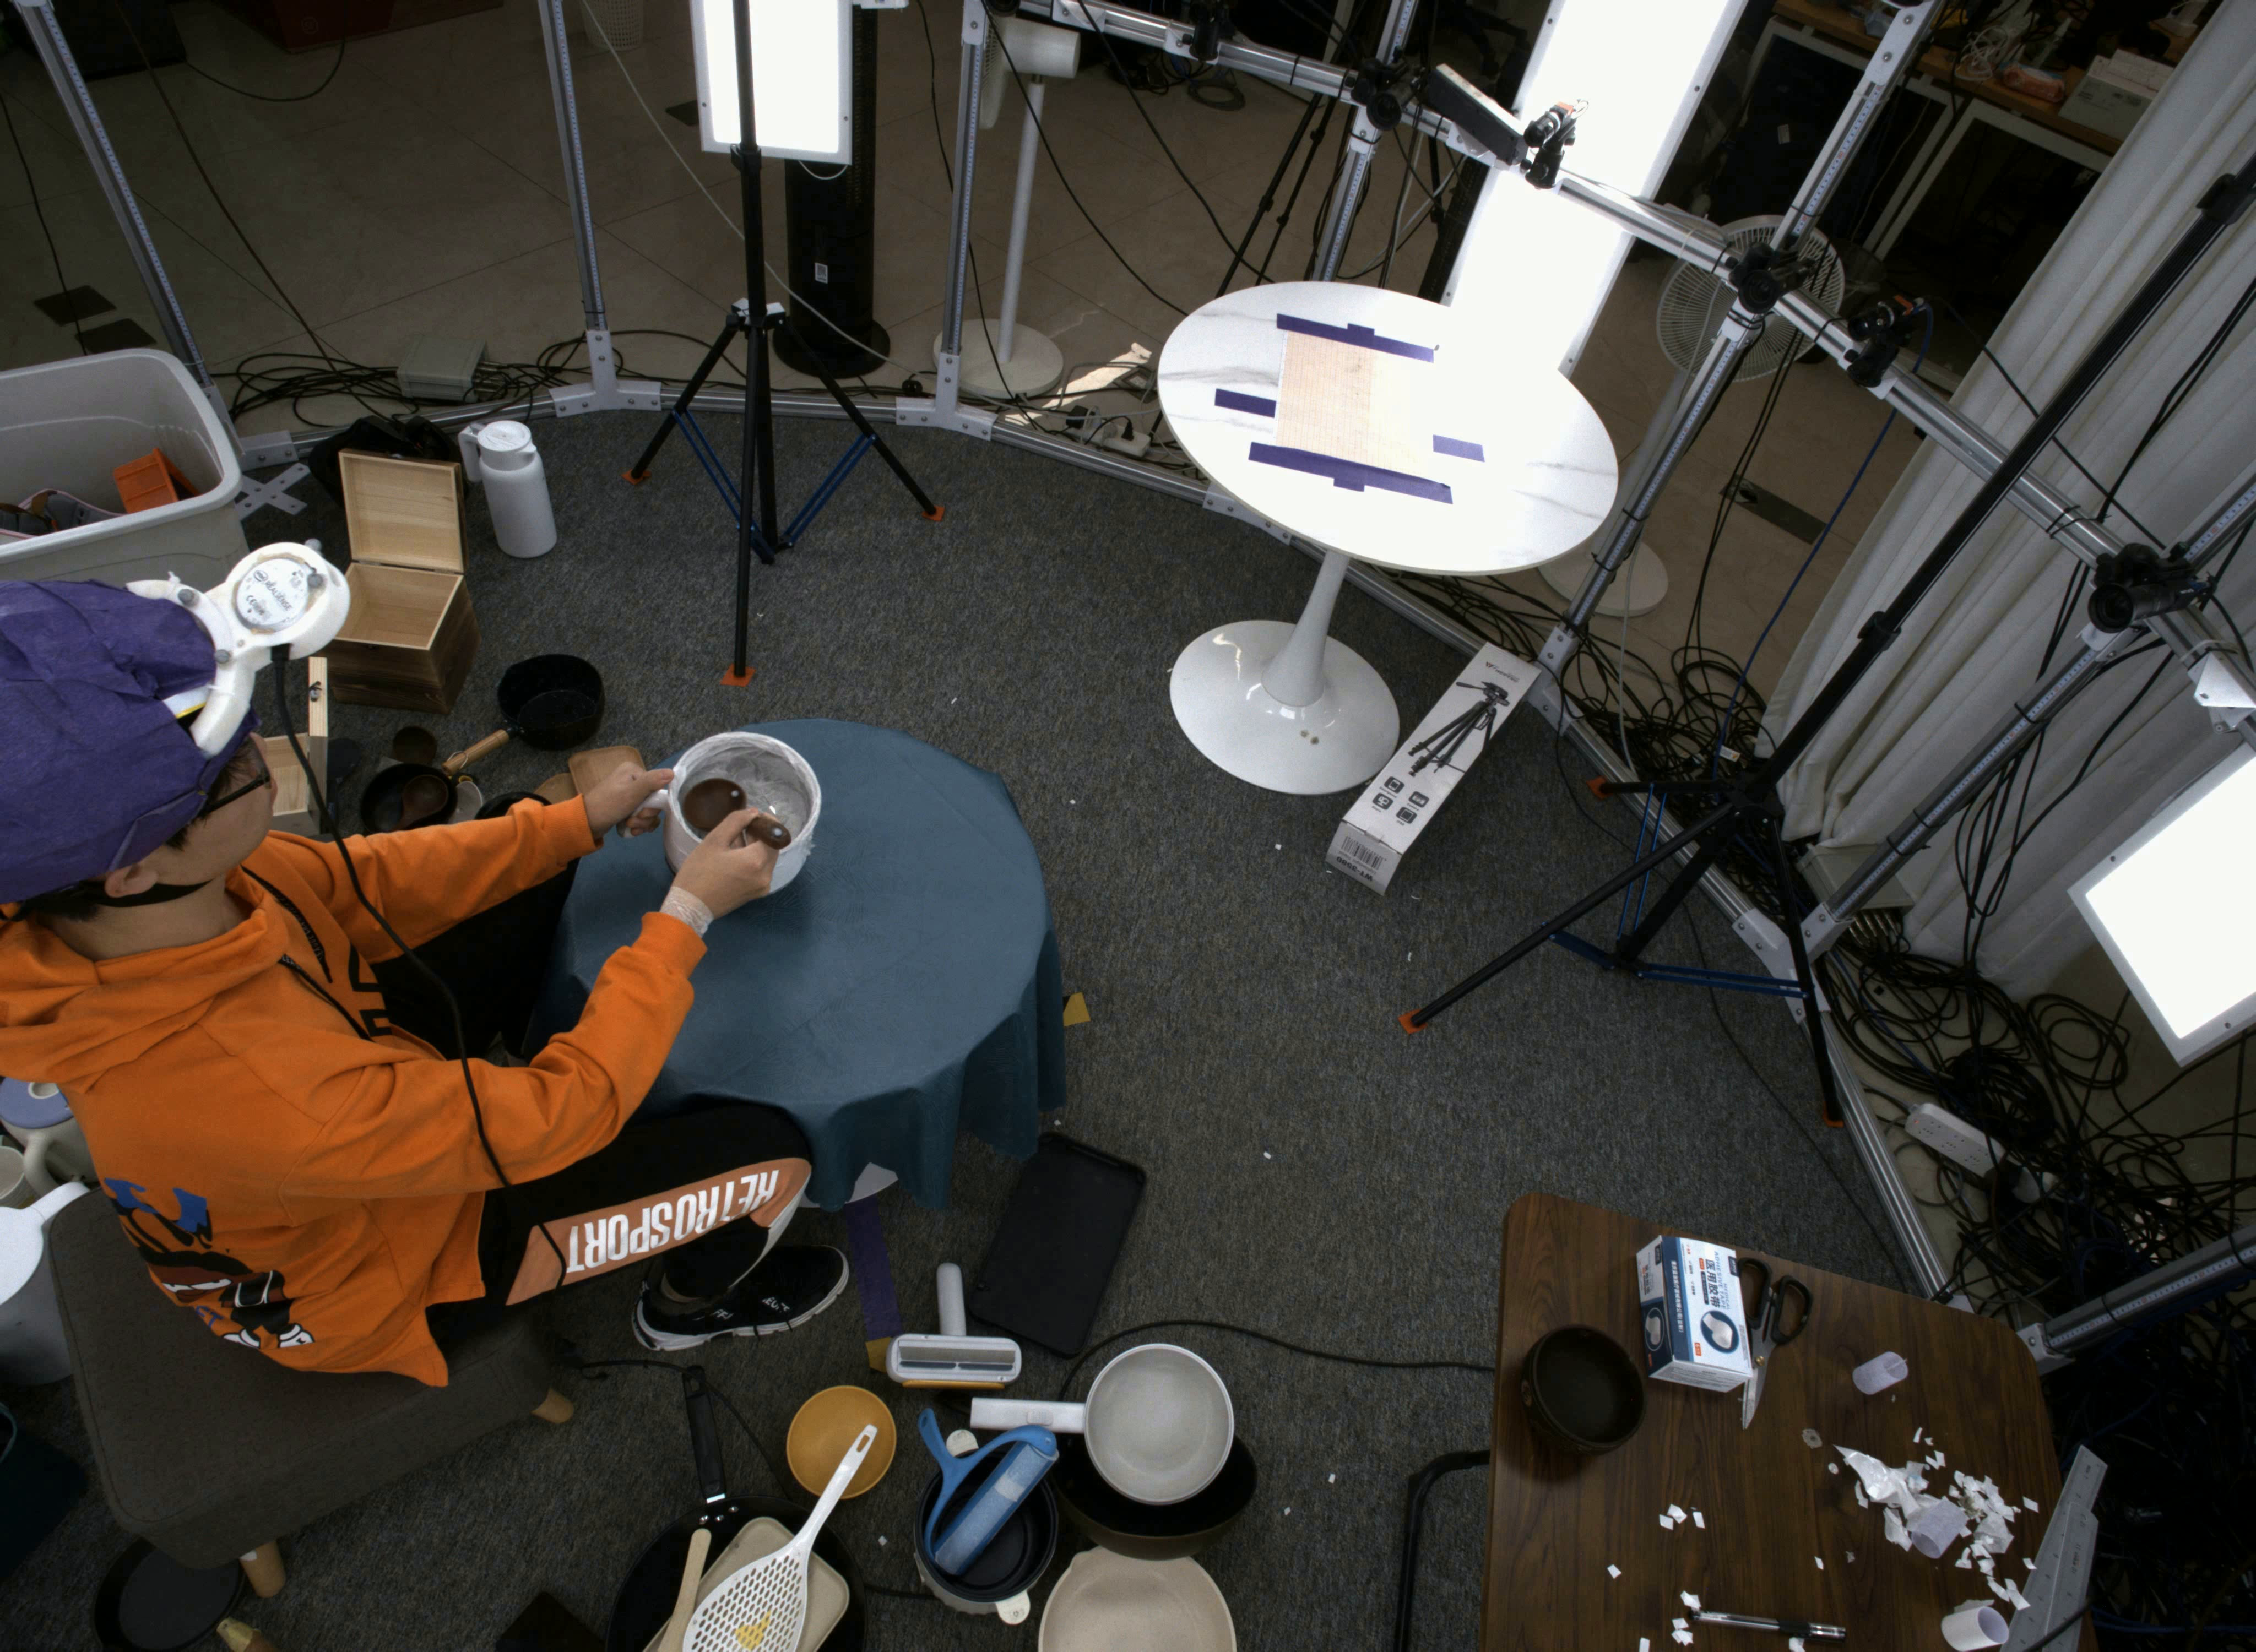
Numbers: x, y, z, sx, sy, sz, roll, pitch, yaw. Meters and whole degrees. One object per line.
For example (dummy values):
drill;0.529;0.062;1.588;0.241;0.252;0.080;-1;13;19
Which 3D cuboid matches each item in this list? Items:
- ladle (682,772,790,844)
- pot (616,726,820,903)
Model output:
ladle;-0.434;-0.021;1.433;0.076;0.252;0.067;-38;112;-23
pot;-0.495;-0.012;1.548;0.236;0.137;0.175;6;57;-22
